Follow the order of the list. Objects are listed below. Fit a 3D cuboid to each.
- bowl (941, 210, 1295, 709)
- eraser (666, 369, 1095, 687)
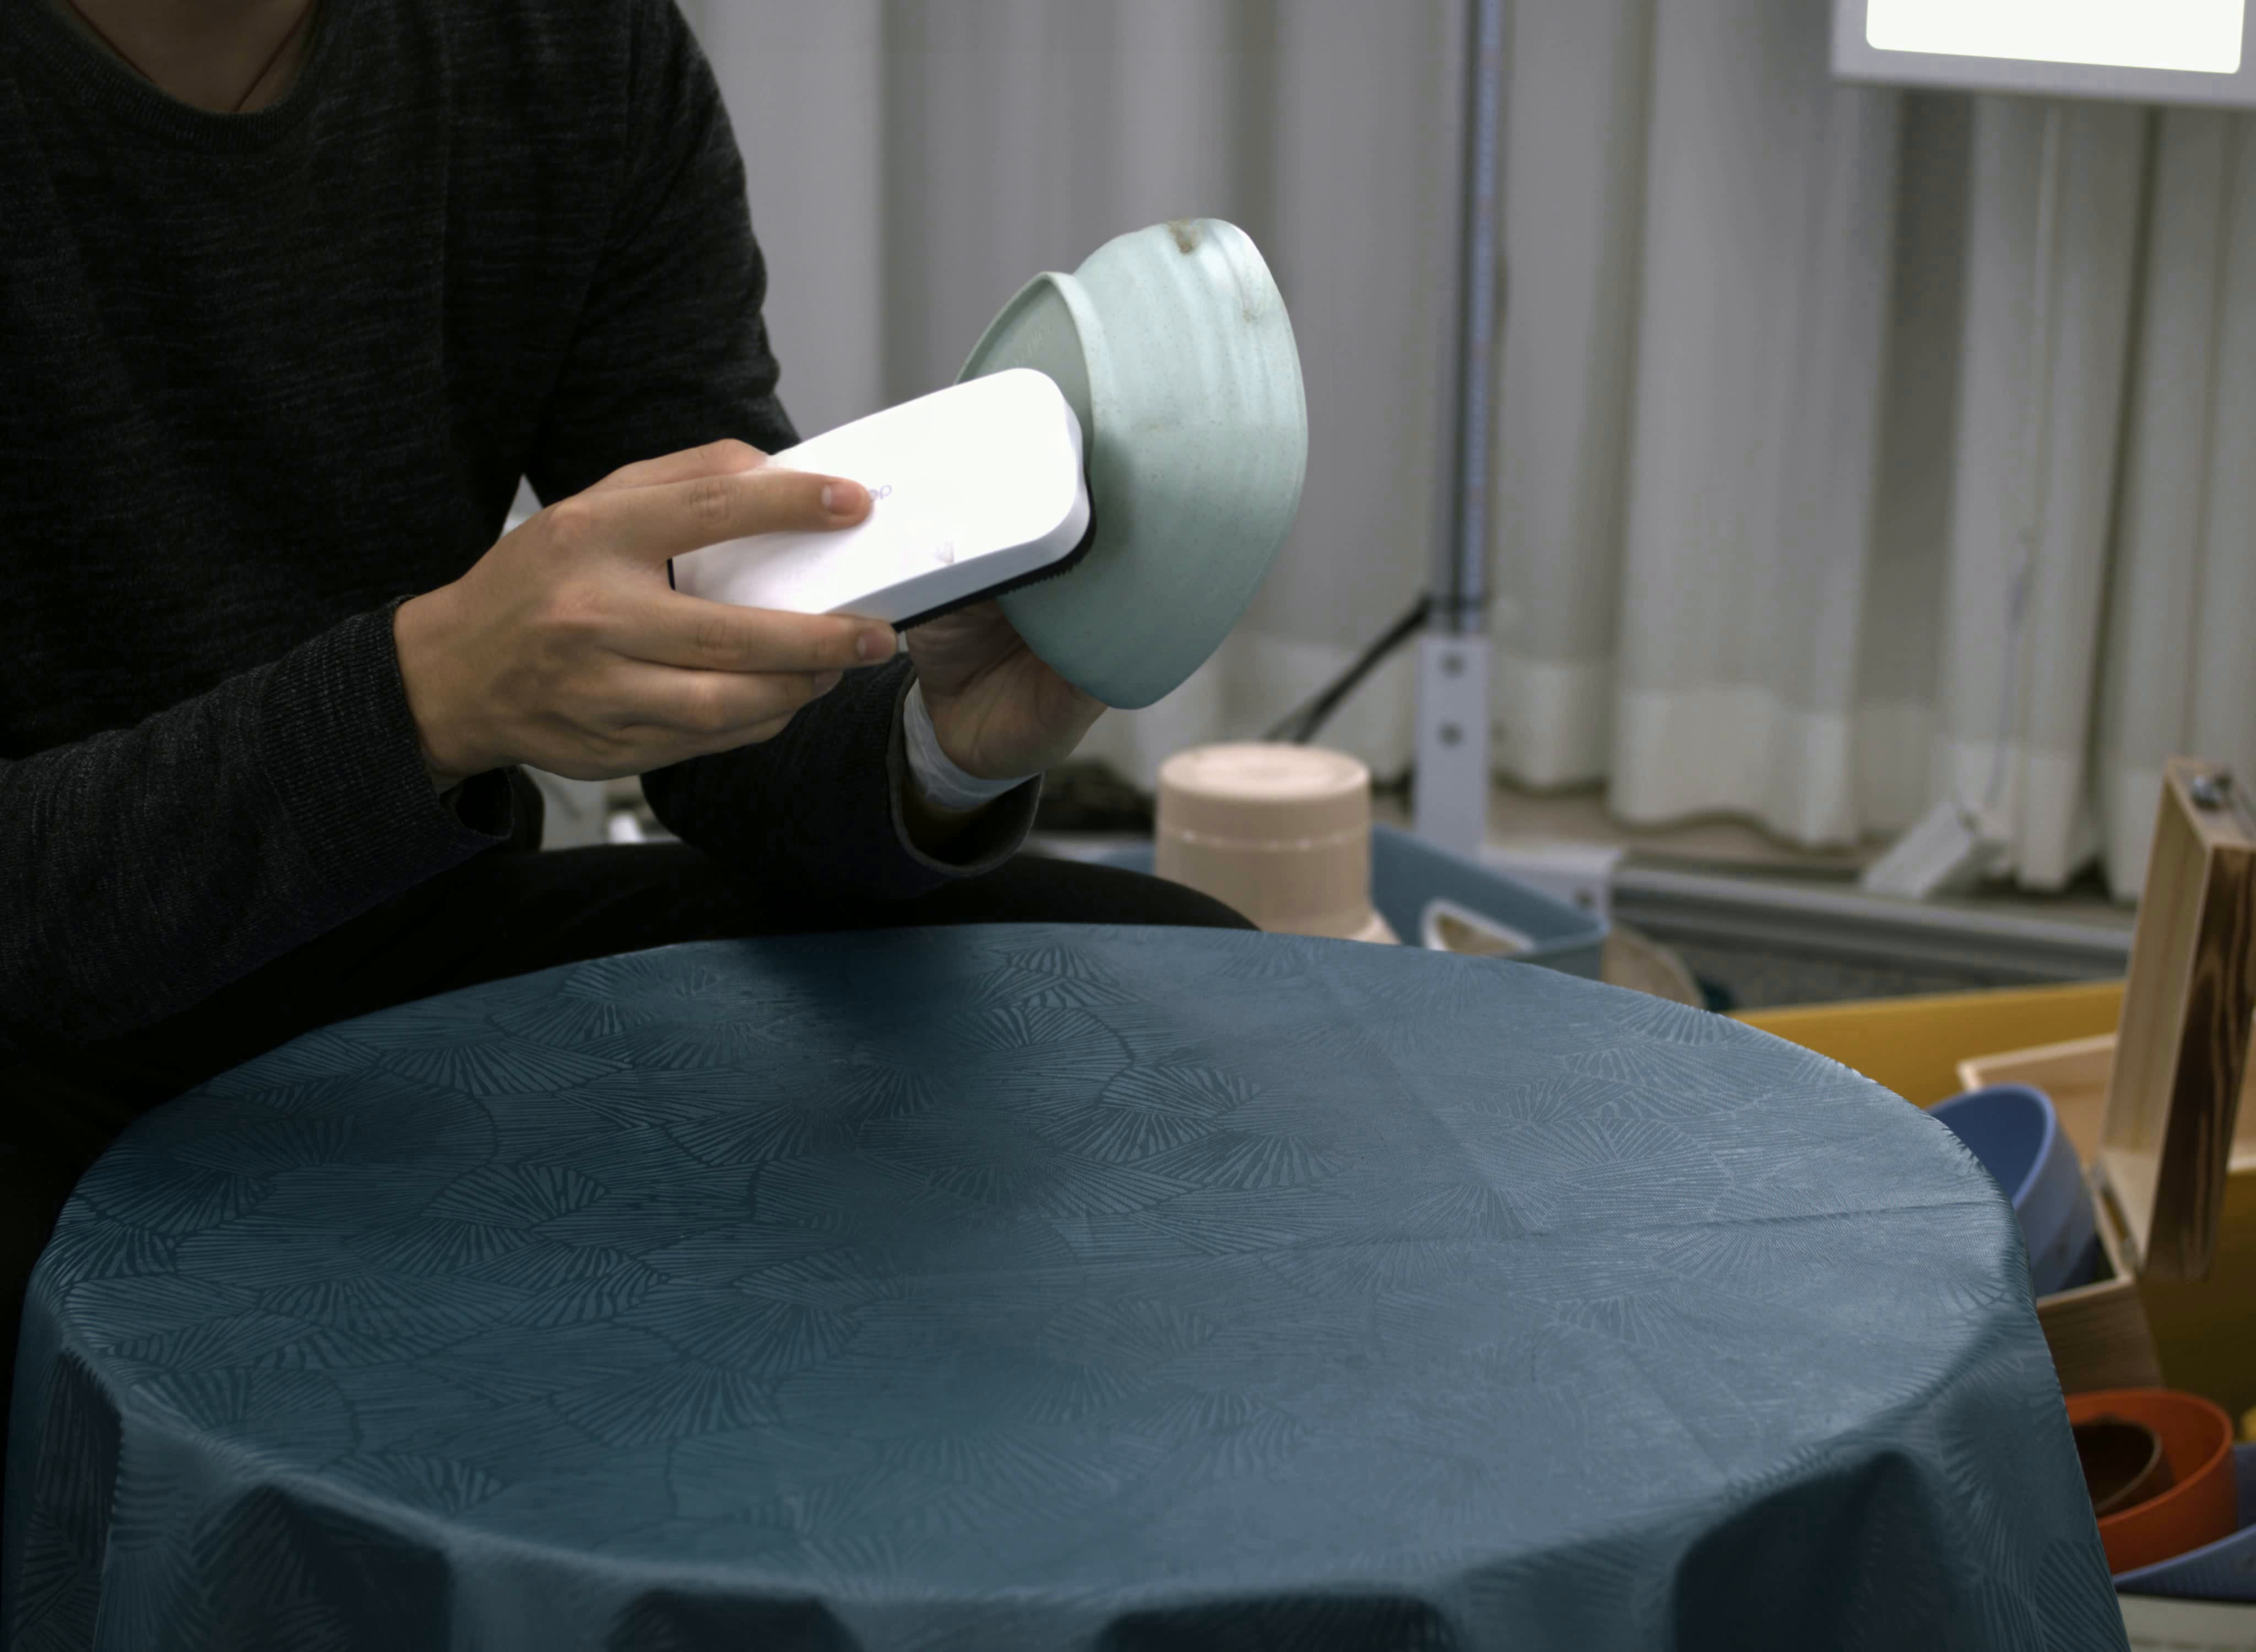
[{"bbox_3d":[-0.012,-0.114,1.576,0.059,0.152,0.149,8,11,-29],"label":"bowl"},{"bbox_3d":[-0.073,-0.088,1.526,0.130,0.063,0.035,-19,-34,17],"label":"eraser"}]
